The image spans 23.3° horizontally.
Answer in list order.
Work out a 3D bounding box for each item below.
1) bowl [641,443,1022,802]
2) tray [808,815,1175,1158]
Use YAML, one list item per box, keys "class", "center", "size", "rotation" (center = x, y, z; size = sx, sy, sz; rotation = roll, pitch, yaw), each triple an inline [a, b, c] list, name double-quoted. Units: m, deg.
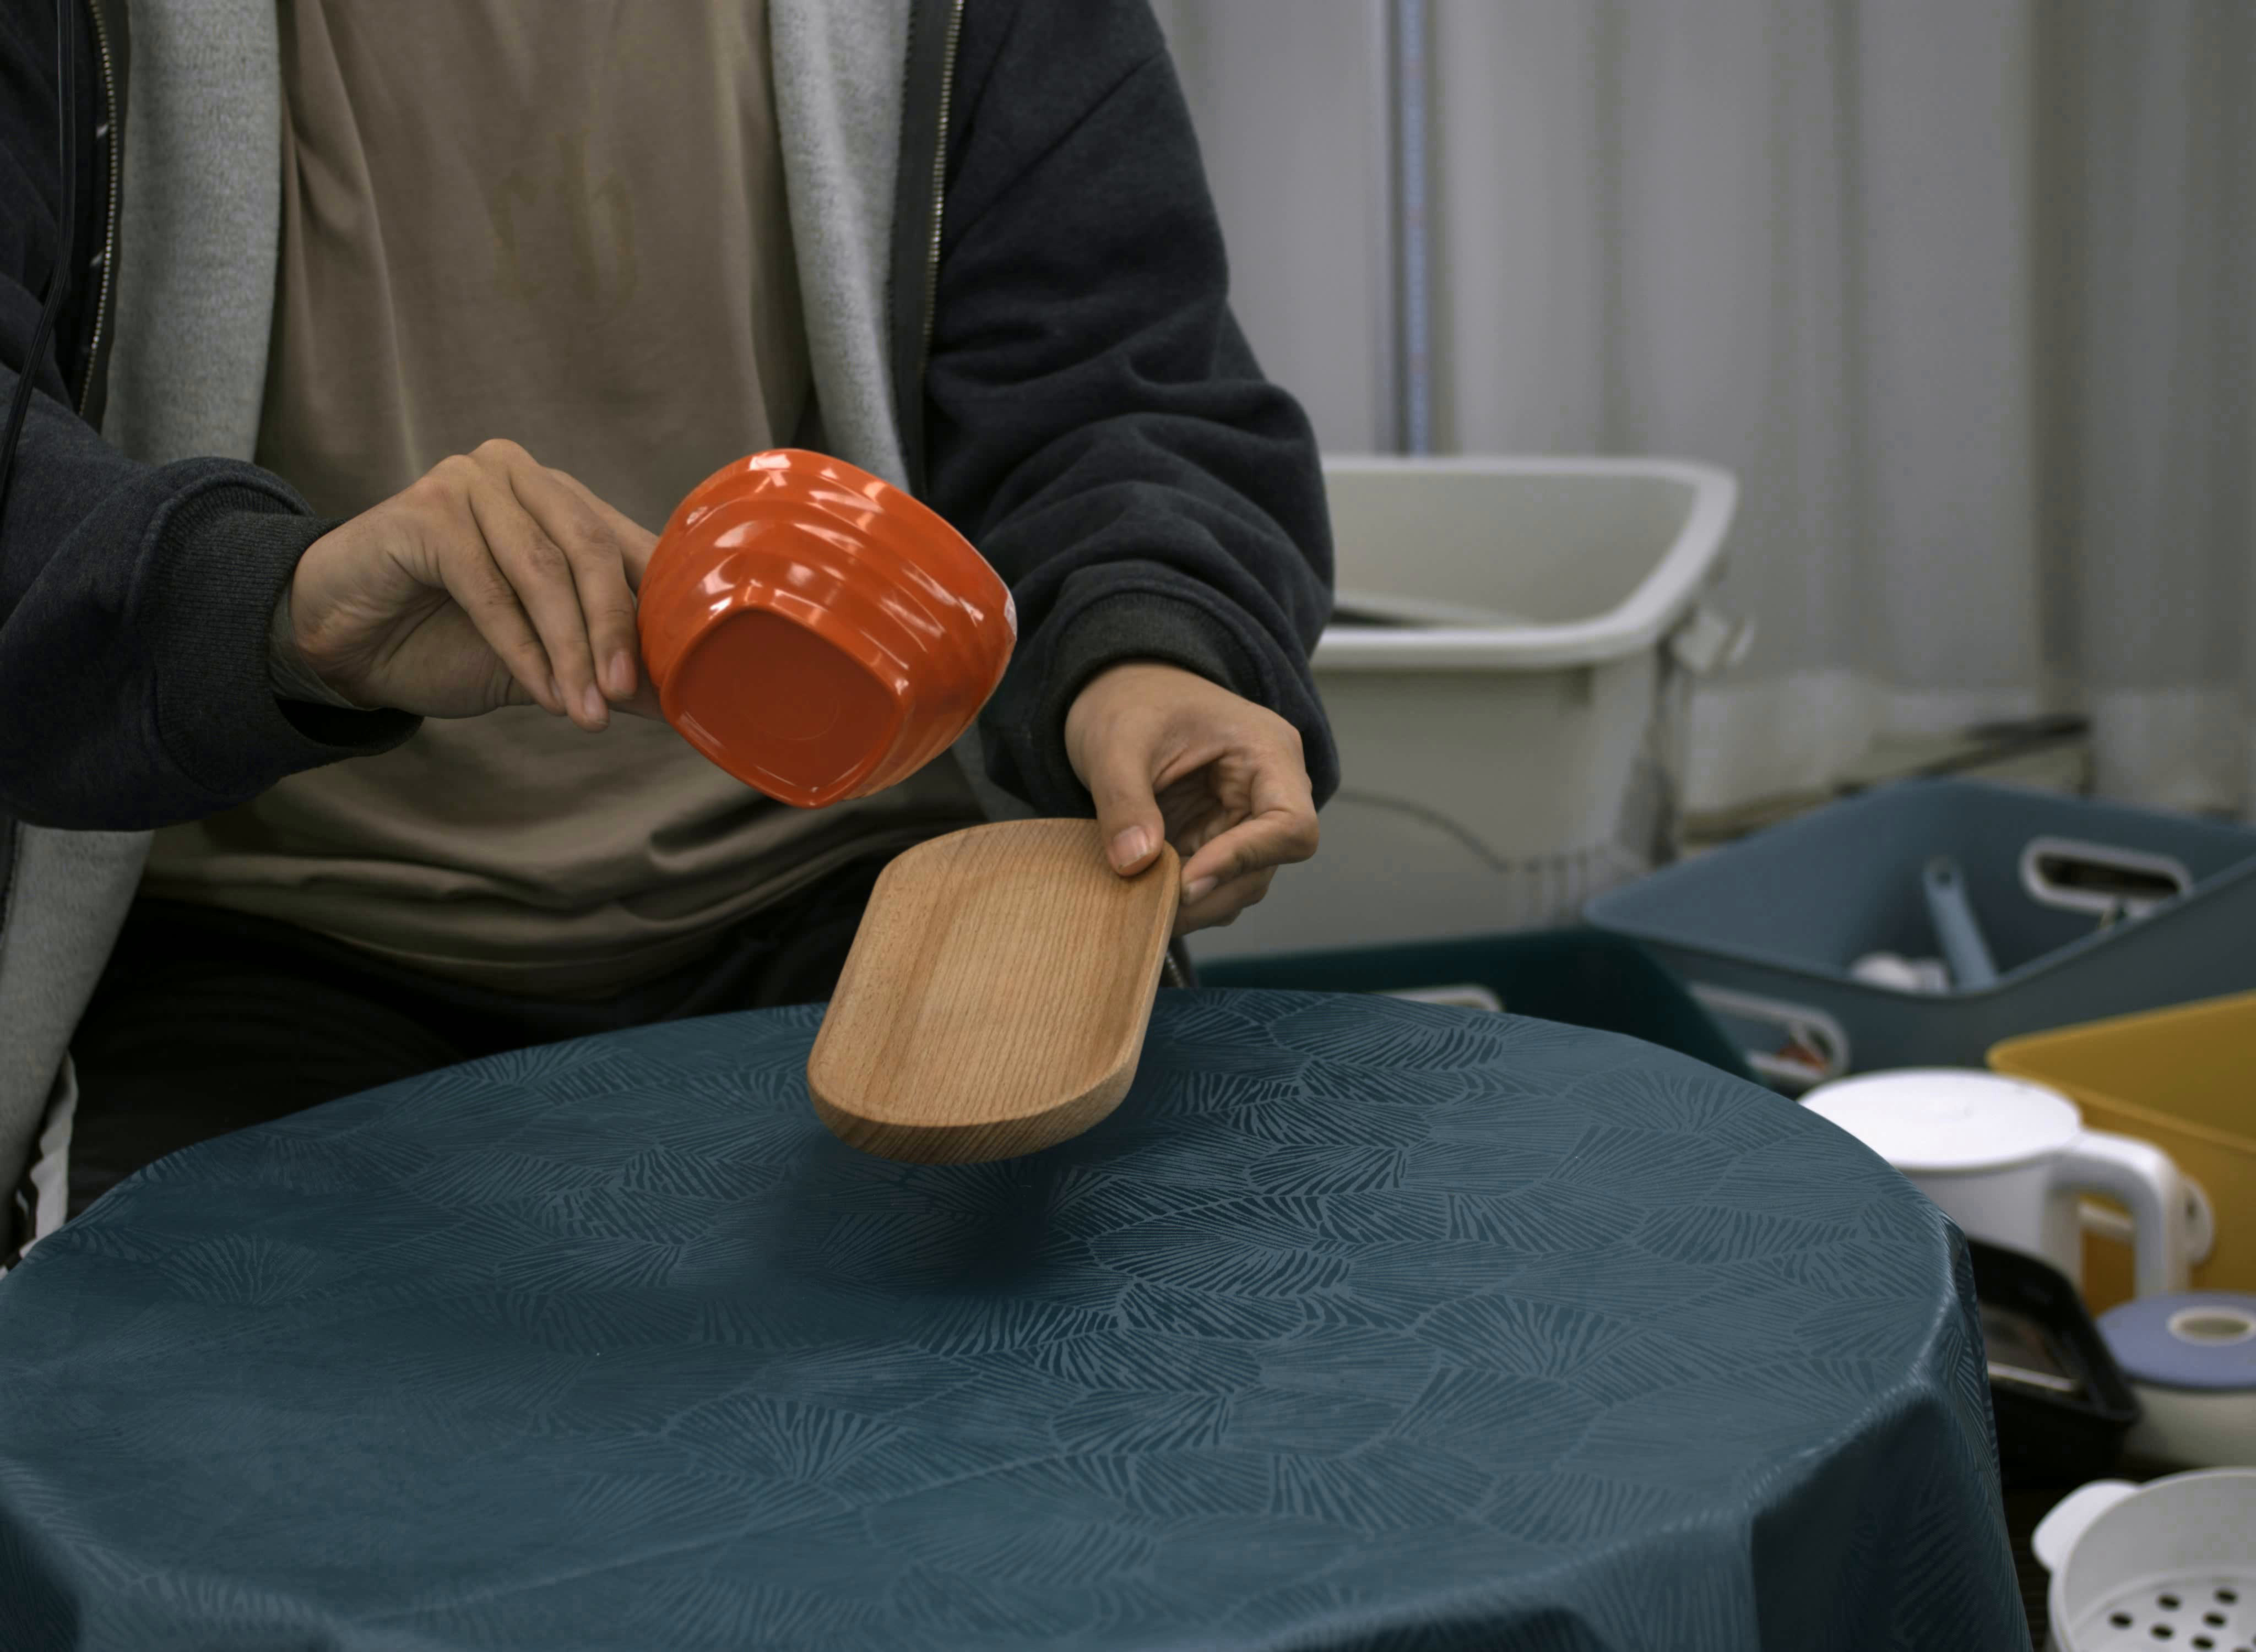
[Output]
- class: "bowl"
  center: [-0.094, -0.051, 1.625]
  size: [0.119, 0.117, 0.052]
  rotation: [2, 40, 17]
- class: "tray"
  center: [-0.040, 0.048, 1.714]
  size: [0.101, 0.020, 0.233]
  rotation: [-2, 21, 6]
